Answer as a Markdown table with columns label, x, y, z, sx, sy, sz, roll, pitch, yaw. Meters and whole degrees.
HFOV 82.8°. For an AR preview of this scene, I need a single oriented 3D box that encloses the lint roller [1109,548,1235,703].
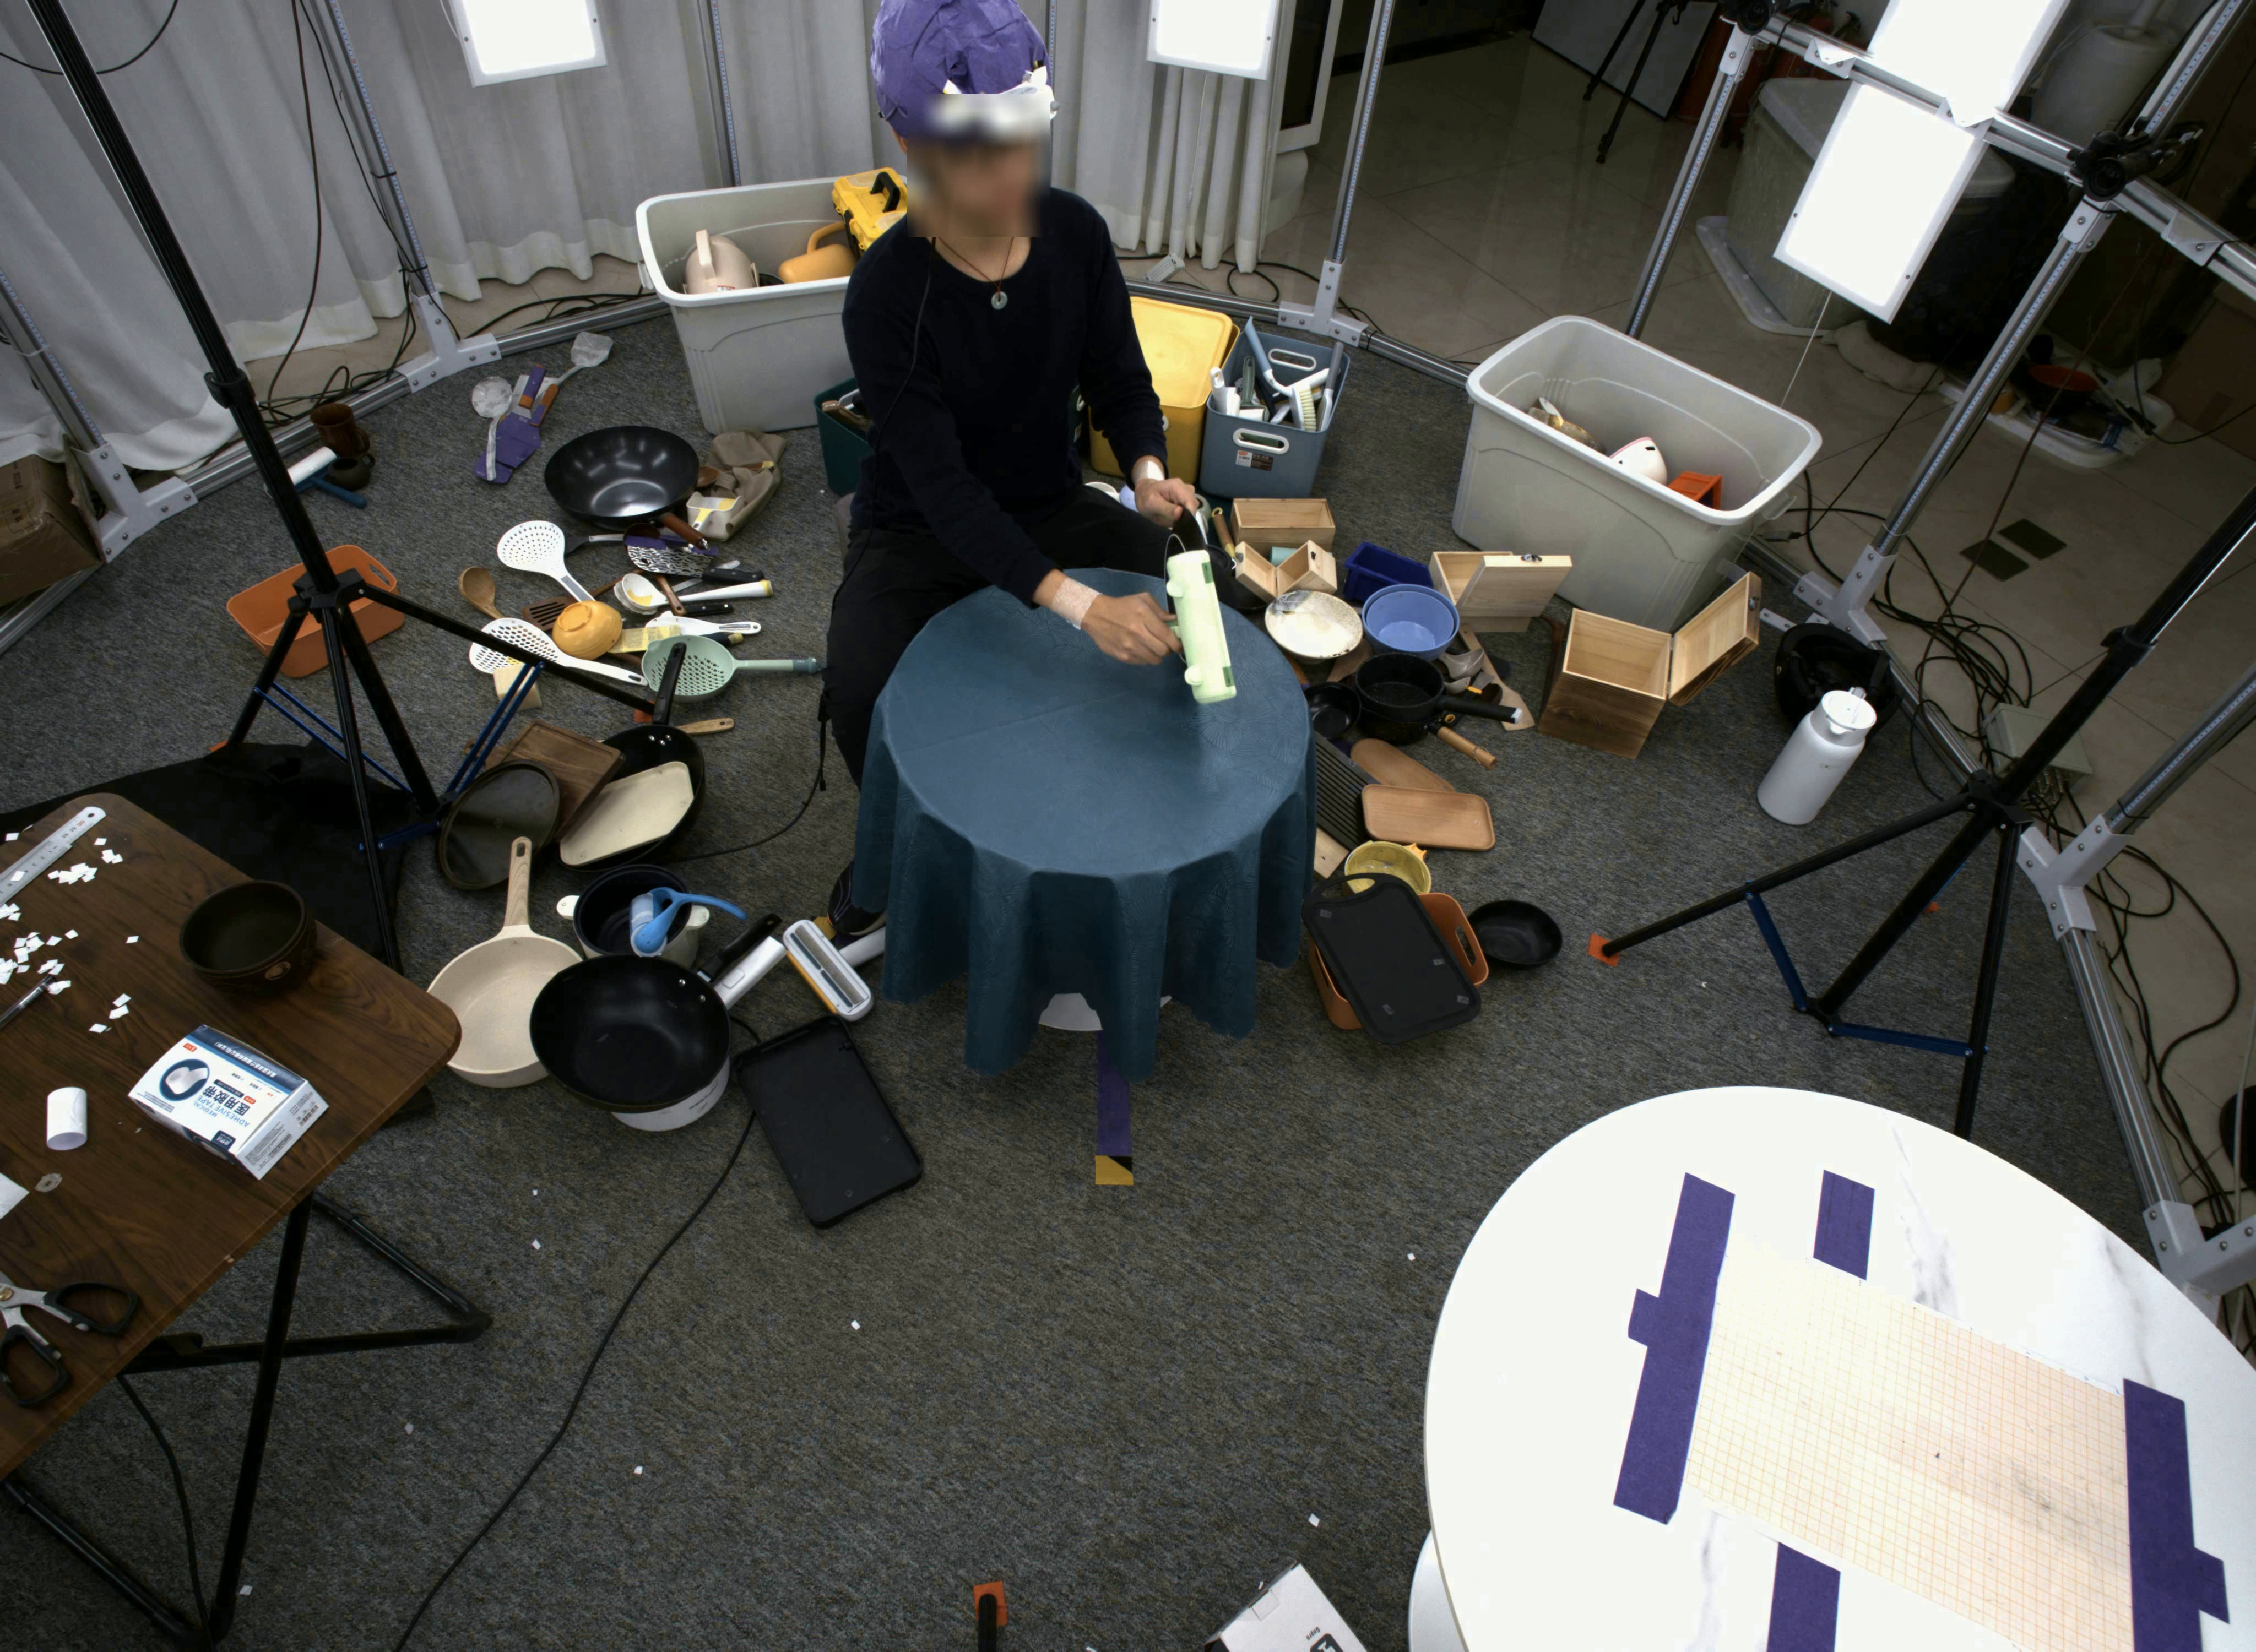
| label | x | y | z | sx | sy | sz | roll | pitch | yaw |
| --- | --- | --- | --- | --- | --- | --- | --- | --- | --- |
| lint roller | 0.041 | -0.253 | 1.694 | 0.183 | 0.197 | 0.082 | -8 | 8 | 29 |

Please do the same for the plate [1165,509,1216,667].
| label | x | y | z | sx | sy | sz | roll | pitch | yaw |
| --- | --- | --- | --- | --- | --- | --- | --- | --- | --- |
| plate | 0.082 | -0.317 | 1.792 | 0.023 | 0.238 | 0.250 | -8 | 50 | -9 |
